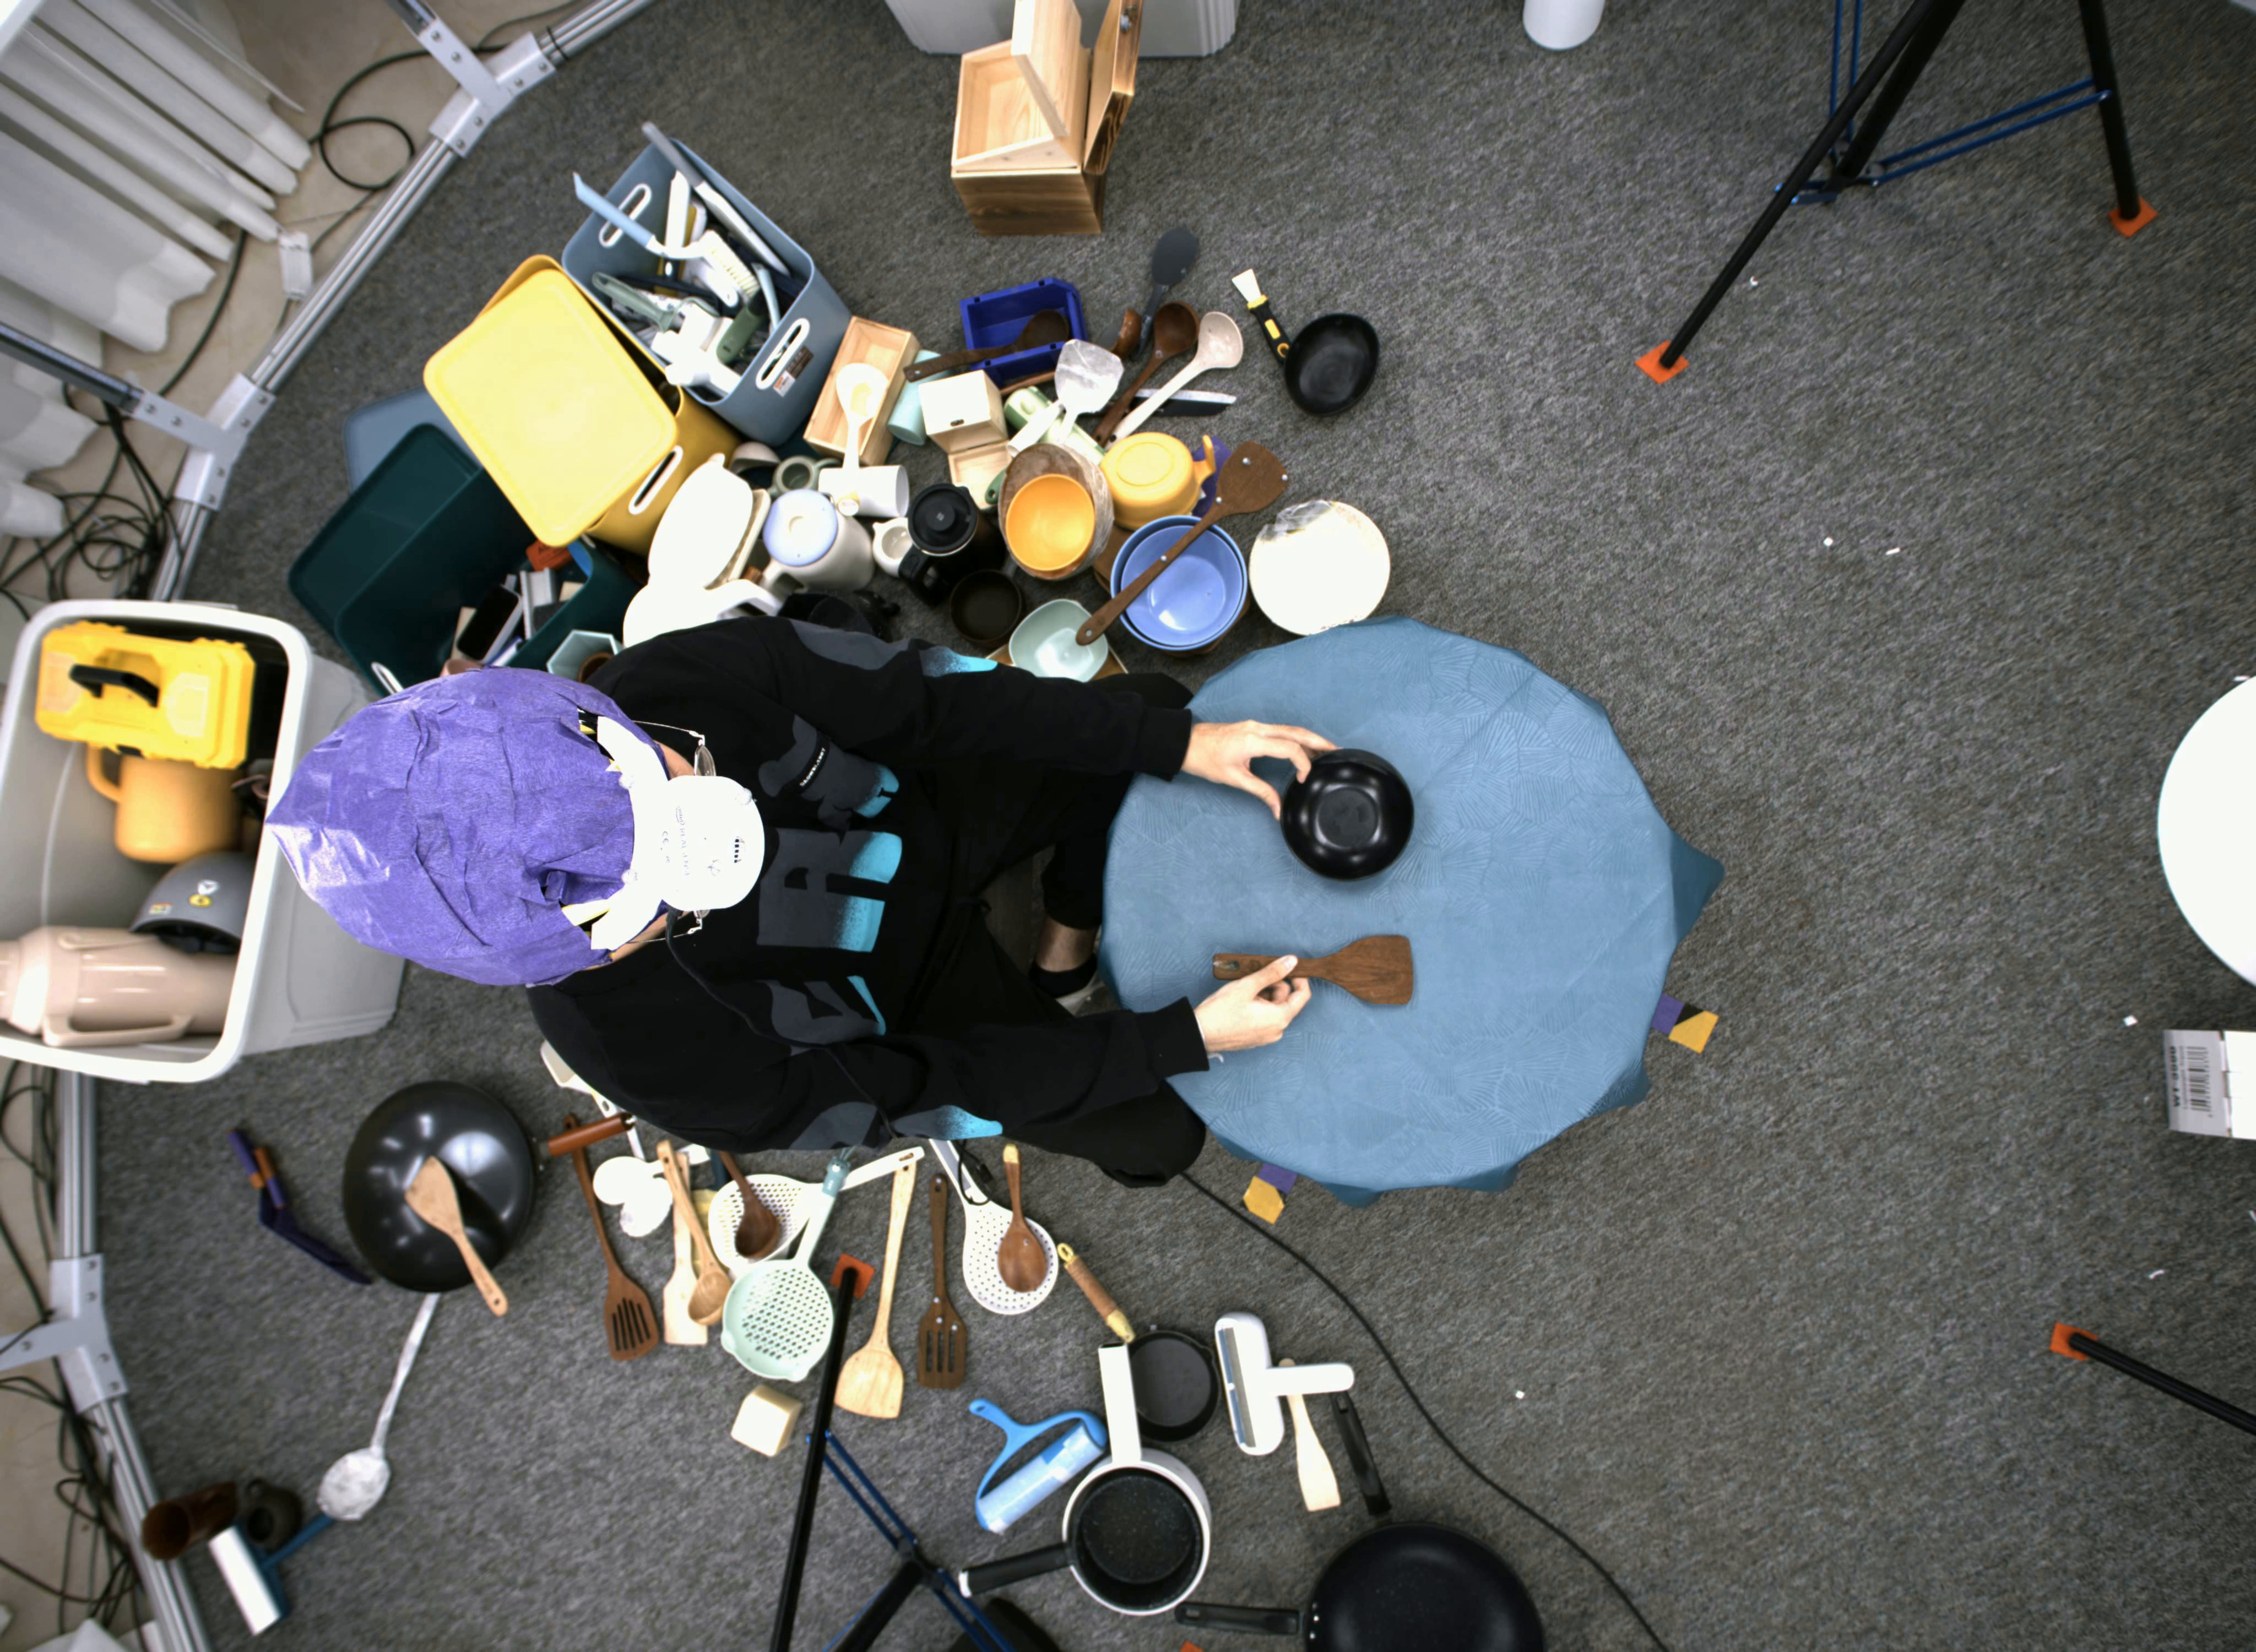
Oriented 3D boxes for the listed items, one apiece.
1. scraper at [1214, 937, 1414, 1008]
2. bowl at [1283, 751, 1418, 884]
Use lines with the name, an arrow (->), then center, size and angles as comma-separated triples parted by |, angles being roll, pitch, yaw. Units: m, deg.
scraper -> 0.194, 0.149, 1.443 | 0.211, 0.011, 0.075 | 2, 76, -4
bowl -> 0.233, -0.009, 1.452 | 0.140, 0.049, 0.140 | 0, 91, 9
